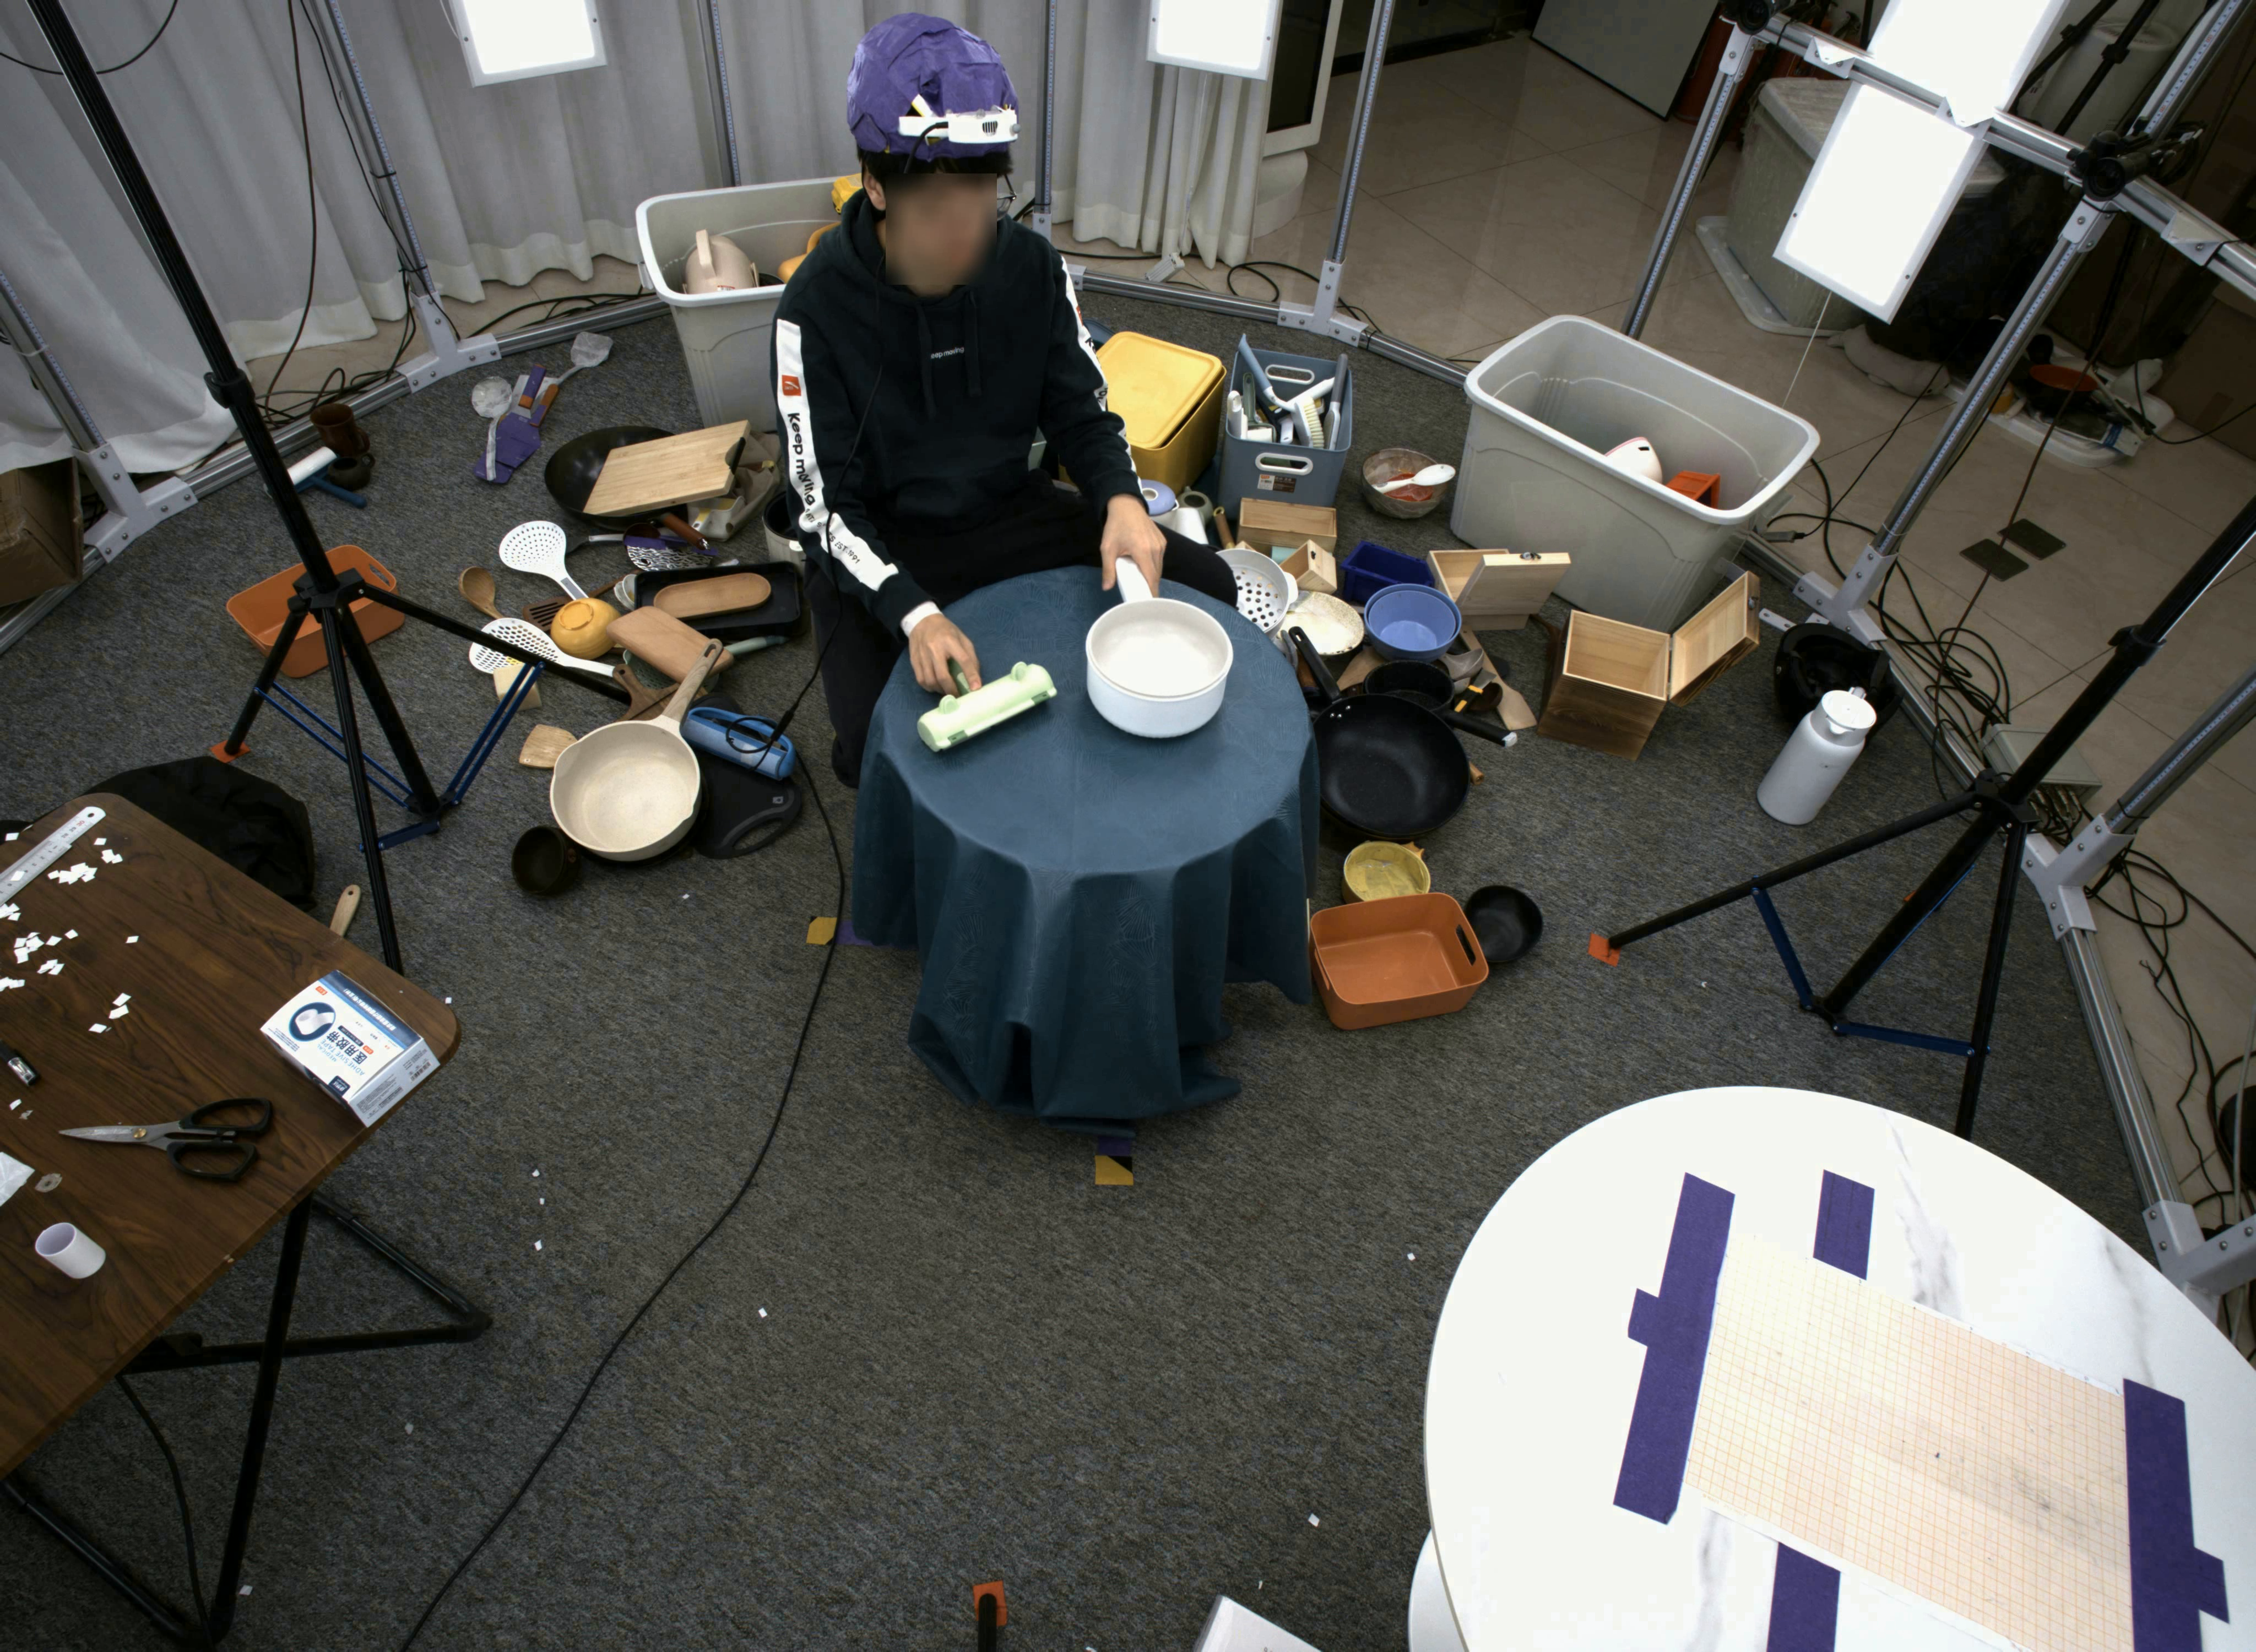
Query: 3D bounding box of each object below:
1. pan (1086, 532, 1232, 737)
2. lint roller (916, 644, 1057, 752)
[{"bbox_3d":[0.025,-0.274,1.844,0.201,0.099,0.364,-8,50,-9],"label":"pan"},{"bbox_3d":[-0.226,-0.207,1.781,0.200,0.080,0.186,-28,64,-25],"label":"lint roller"}]
